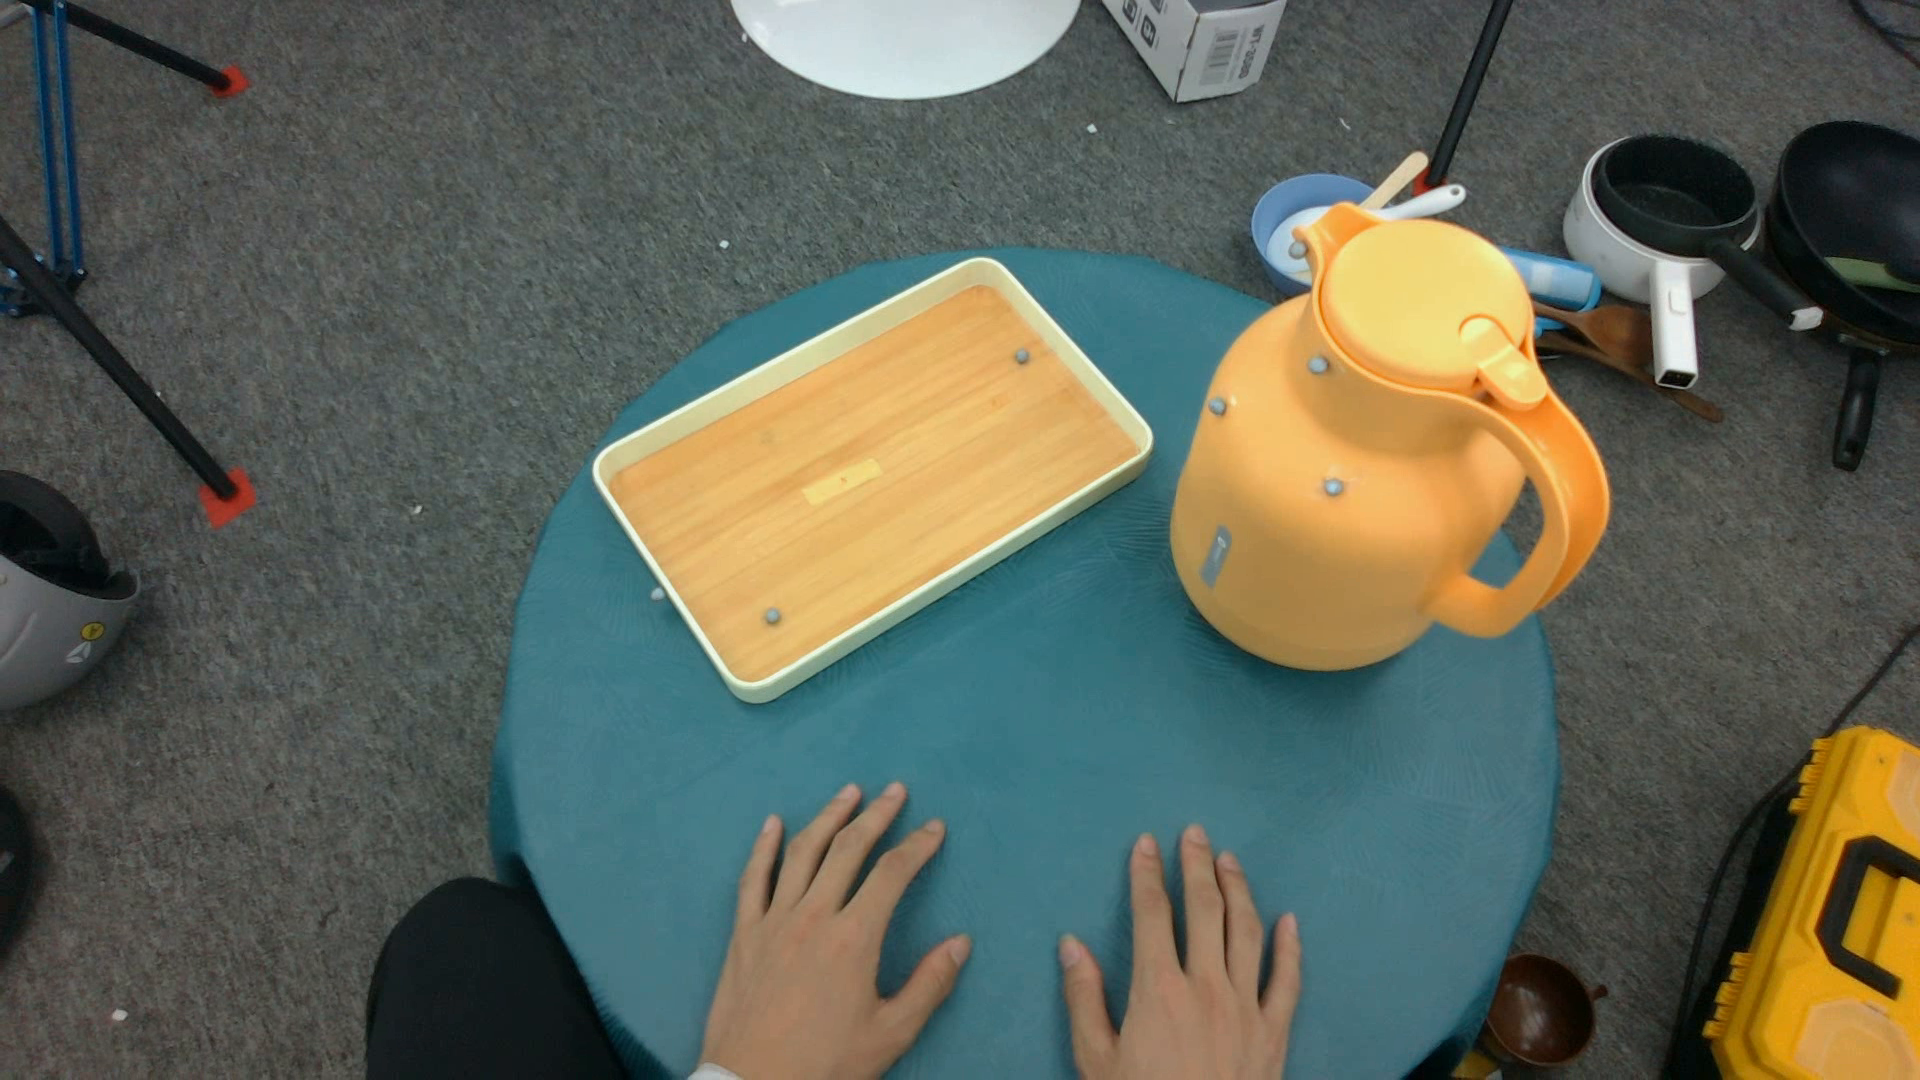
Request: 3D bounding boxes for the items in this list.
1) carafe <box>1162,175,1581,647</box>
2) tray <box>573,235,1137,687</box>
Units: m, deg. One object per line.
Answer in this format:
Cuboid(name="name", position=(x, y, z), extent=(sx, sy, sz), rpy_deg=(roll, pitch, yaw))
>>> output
Cuboid(name="carafe", position=(0.206, -0.047, 0.704), extent=(0.164, 0.259, 0.203), rpy_deg=(-30, 64, -14))
Cuboid(name="tray", position=(-0.061, -0.059, 0.838), extent=(0.301, 0.027, 0.192), rpy_deg=(-32, 66, -17))
